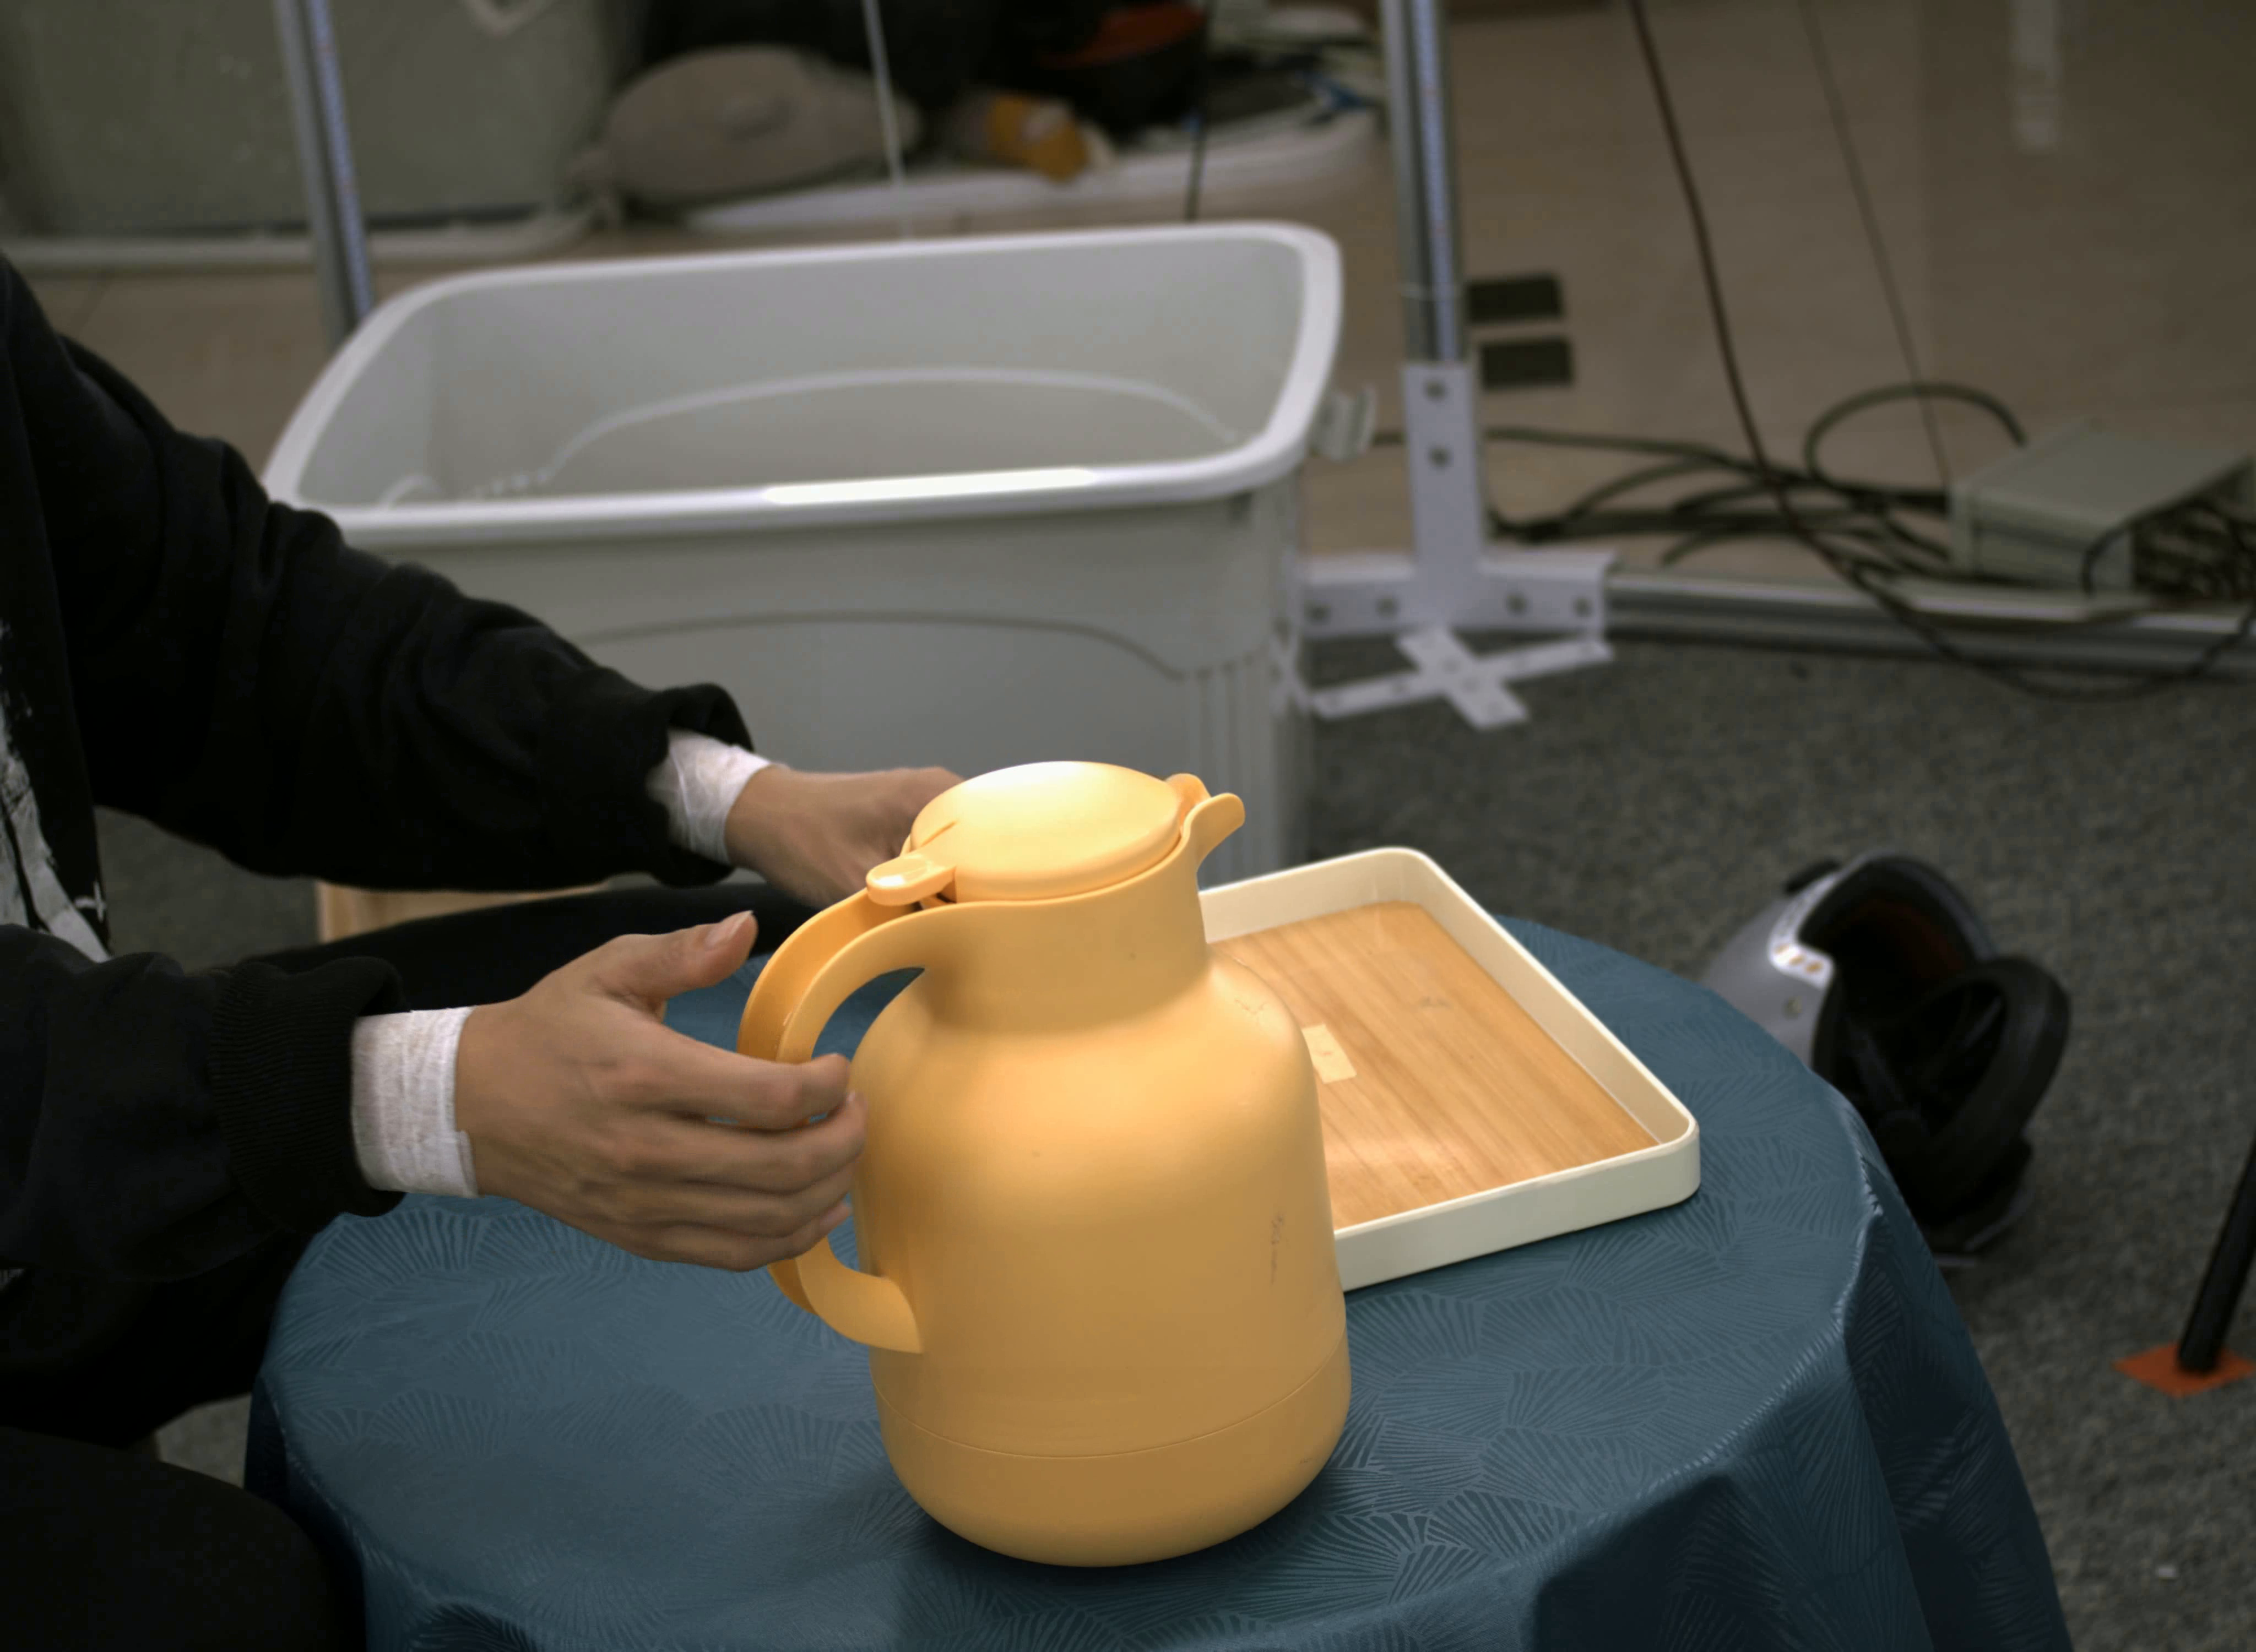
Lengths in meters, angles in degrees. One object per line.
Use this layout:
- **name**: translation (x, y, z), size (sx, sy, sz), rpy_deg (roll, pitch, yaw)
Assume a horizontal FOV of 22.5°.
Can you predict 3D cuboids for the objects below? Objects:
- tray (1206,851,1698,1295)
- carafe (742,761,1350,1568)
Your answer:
- **tray**: translation (0.079, 0.093, 2.197), size (0.191, 0.028, 0.296), rpy_deg (-13, 26, -15)
- **carafe**: translation (-0.031, 0.114, 1.900), size (0.201, 0.264, 0.162), rpy_deg (-19, 27, -27)
